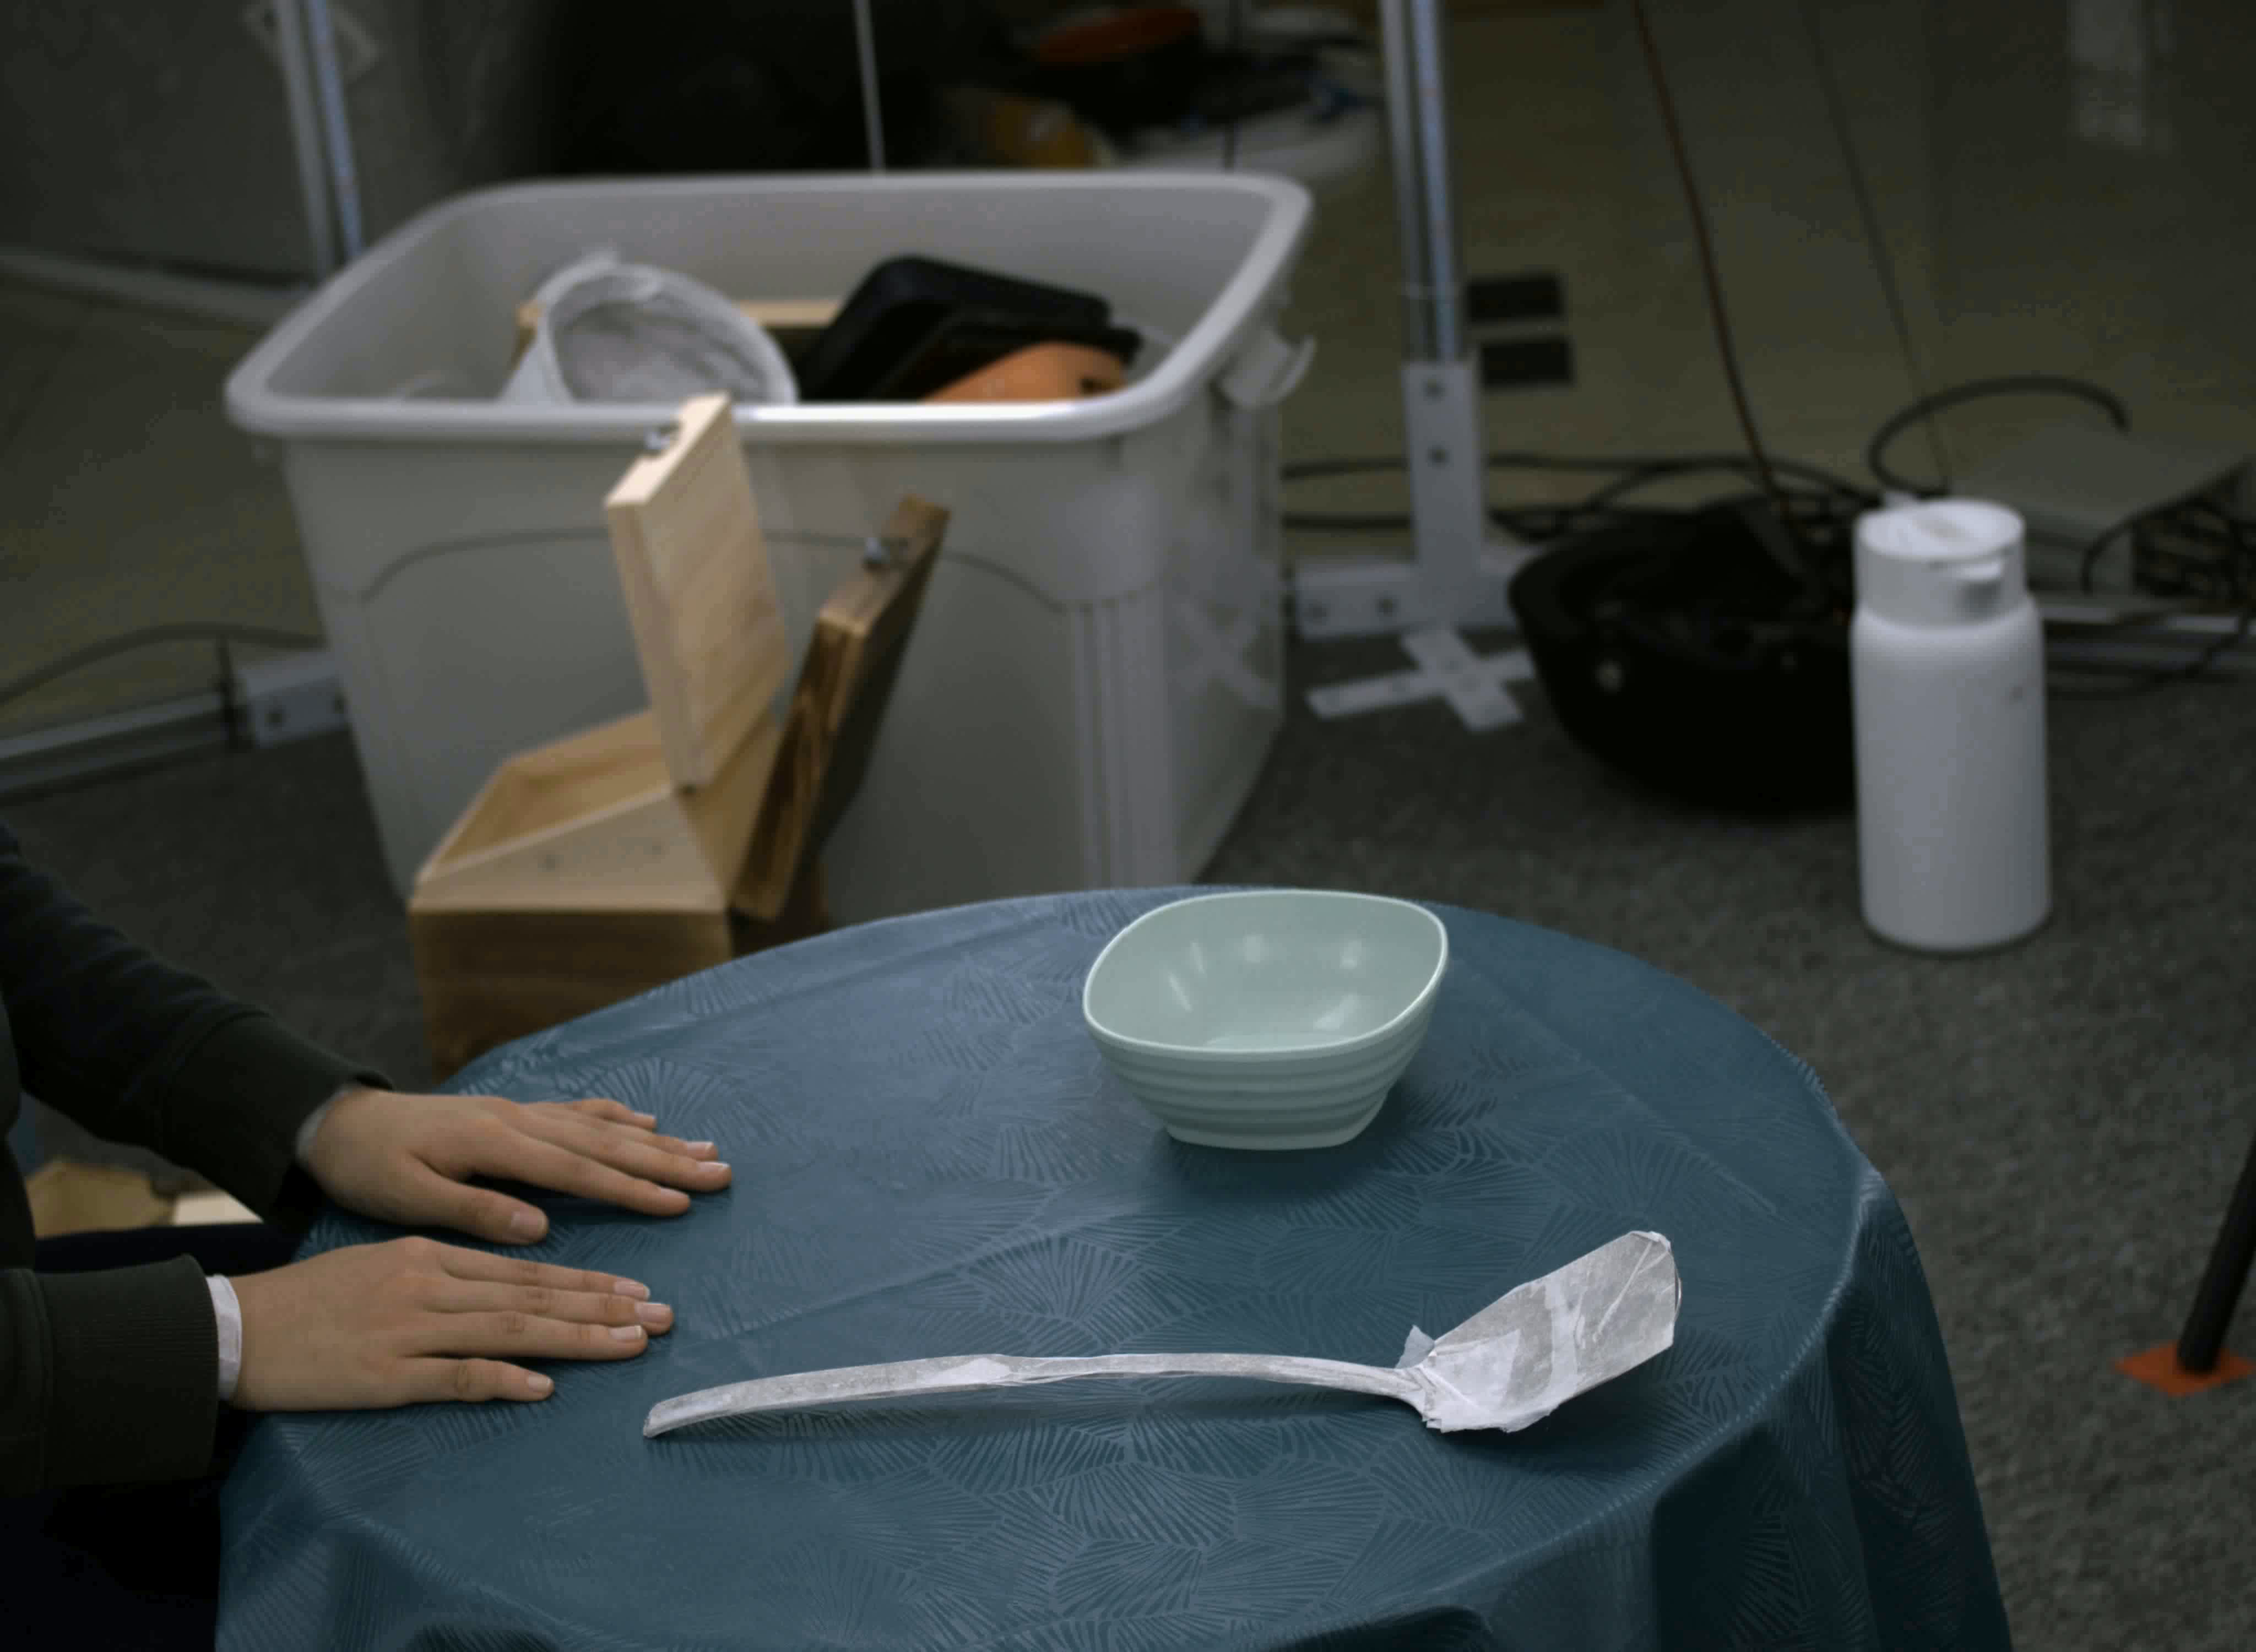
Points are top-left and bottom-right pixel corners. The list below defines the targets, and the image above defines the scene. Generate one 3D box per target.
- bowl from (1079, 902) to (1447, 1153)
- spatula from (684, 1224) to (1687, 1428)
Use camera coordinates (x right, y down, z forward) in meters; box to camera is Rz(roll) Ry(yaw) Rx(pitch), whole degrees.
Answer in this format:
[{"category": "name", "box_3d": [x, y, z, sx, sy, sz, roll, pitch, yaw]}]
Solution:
[{"category": "bowl", "box_3d": [0.054, 0.083, 2.194, 0.151, 0.059, 0.149, -3, 23, 1]}, {"category": "spatula", "box_3d": [0.016, 0.186, 2.003, 0.364, 0.045, 0.097, -2, 27, 8]}]
